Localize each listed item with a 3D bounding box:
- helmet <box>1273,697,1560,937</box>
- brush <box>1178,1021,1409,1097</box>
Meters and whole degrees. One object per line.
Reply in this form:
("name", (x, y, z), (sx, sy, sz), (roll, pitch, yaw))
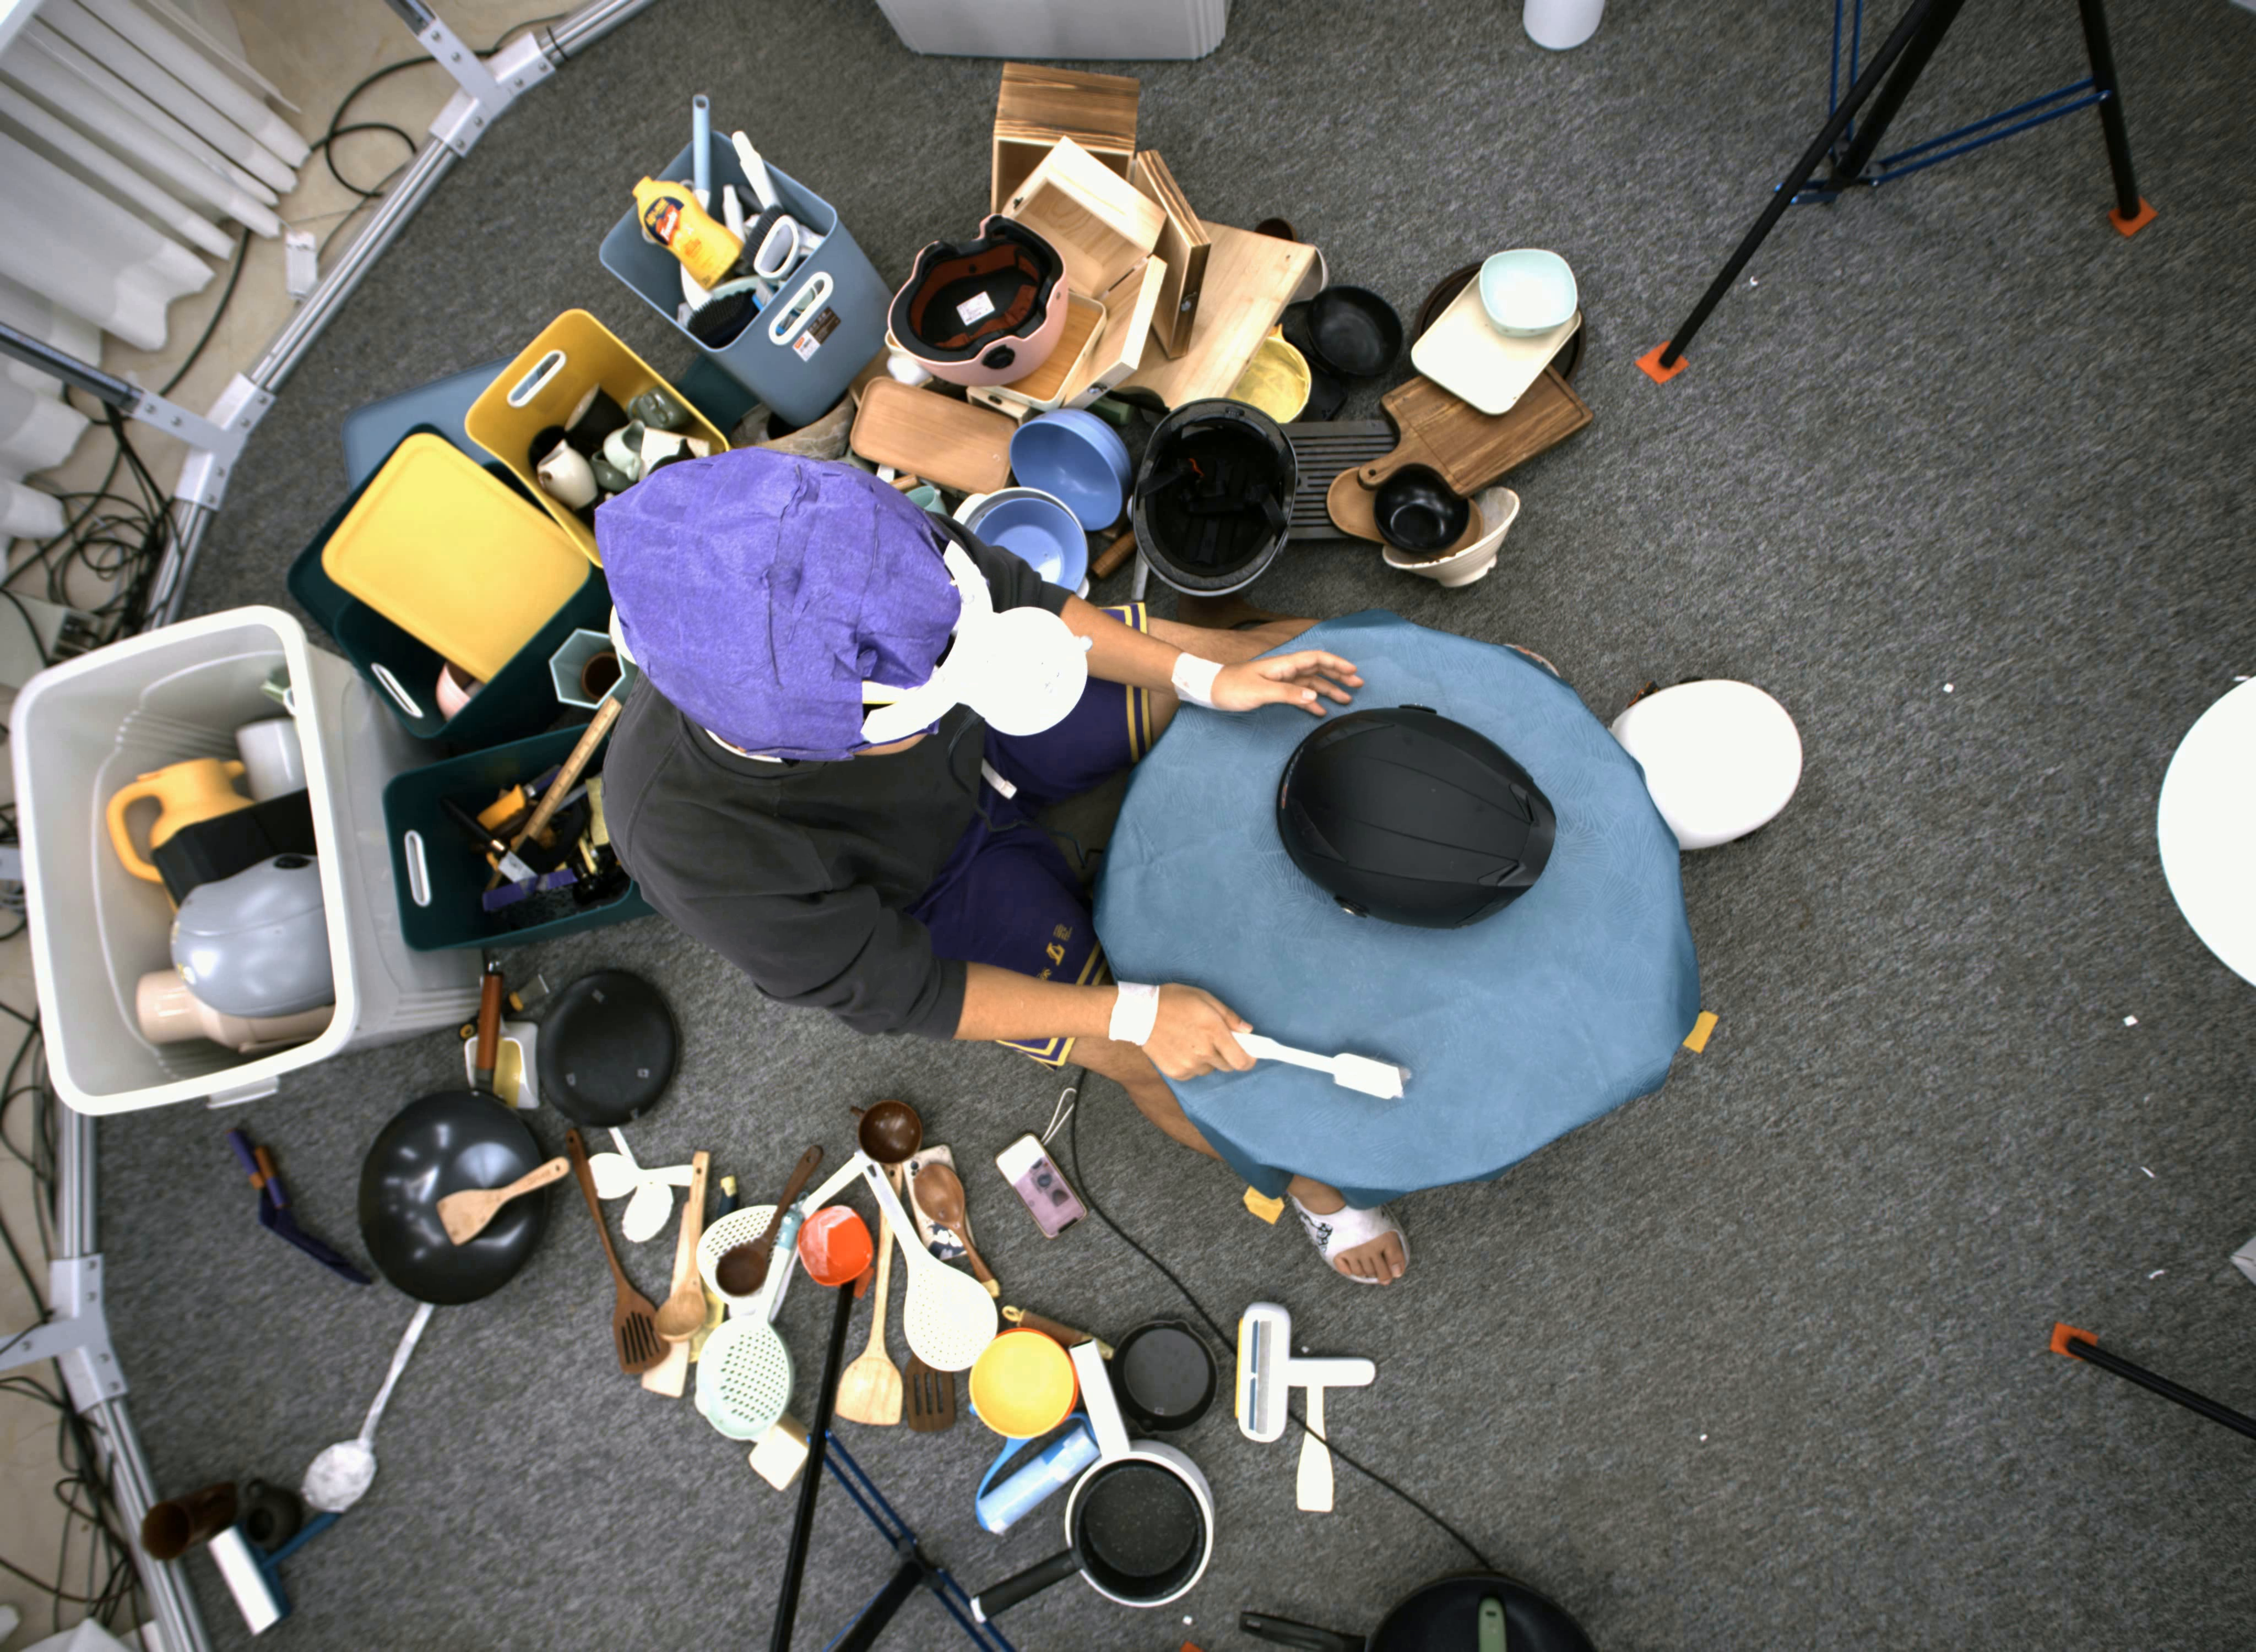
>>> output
("helmet", (0.285, -0.018, 1.380), (0.277, 0.172, 0.246), (21, 89, 9))
("brush", (0.171, 0.240, 1.450), (0.244, 0.050, 0.034), (11, 87, 20))
